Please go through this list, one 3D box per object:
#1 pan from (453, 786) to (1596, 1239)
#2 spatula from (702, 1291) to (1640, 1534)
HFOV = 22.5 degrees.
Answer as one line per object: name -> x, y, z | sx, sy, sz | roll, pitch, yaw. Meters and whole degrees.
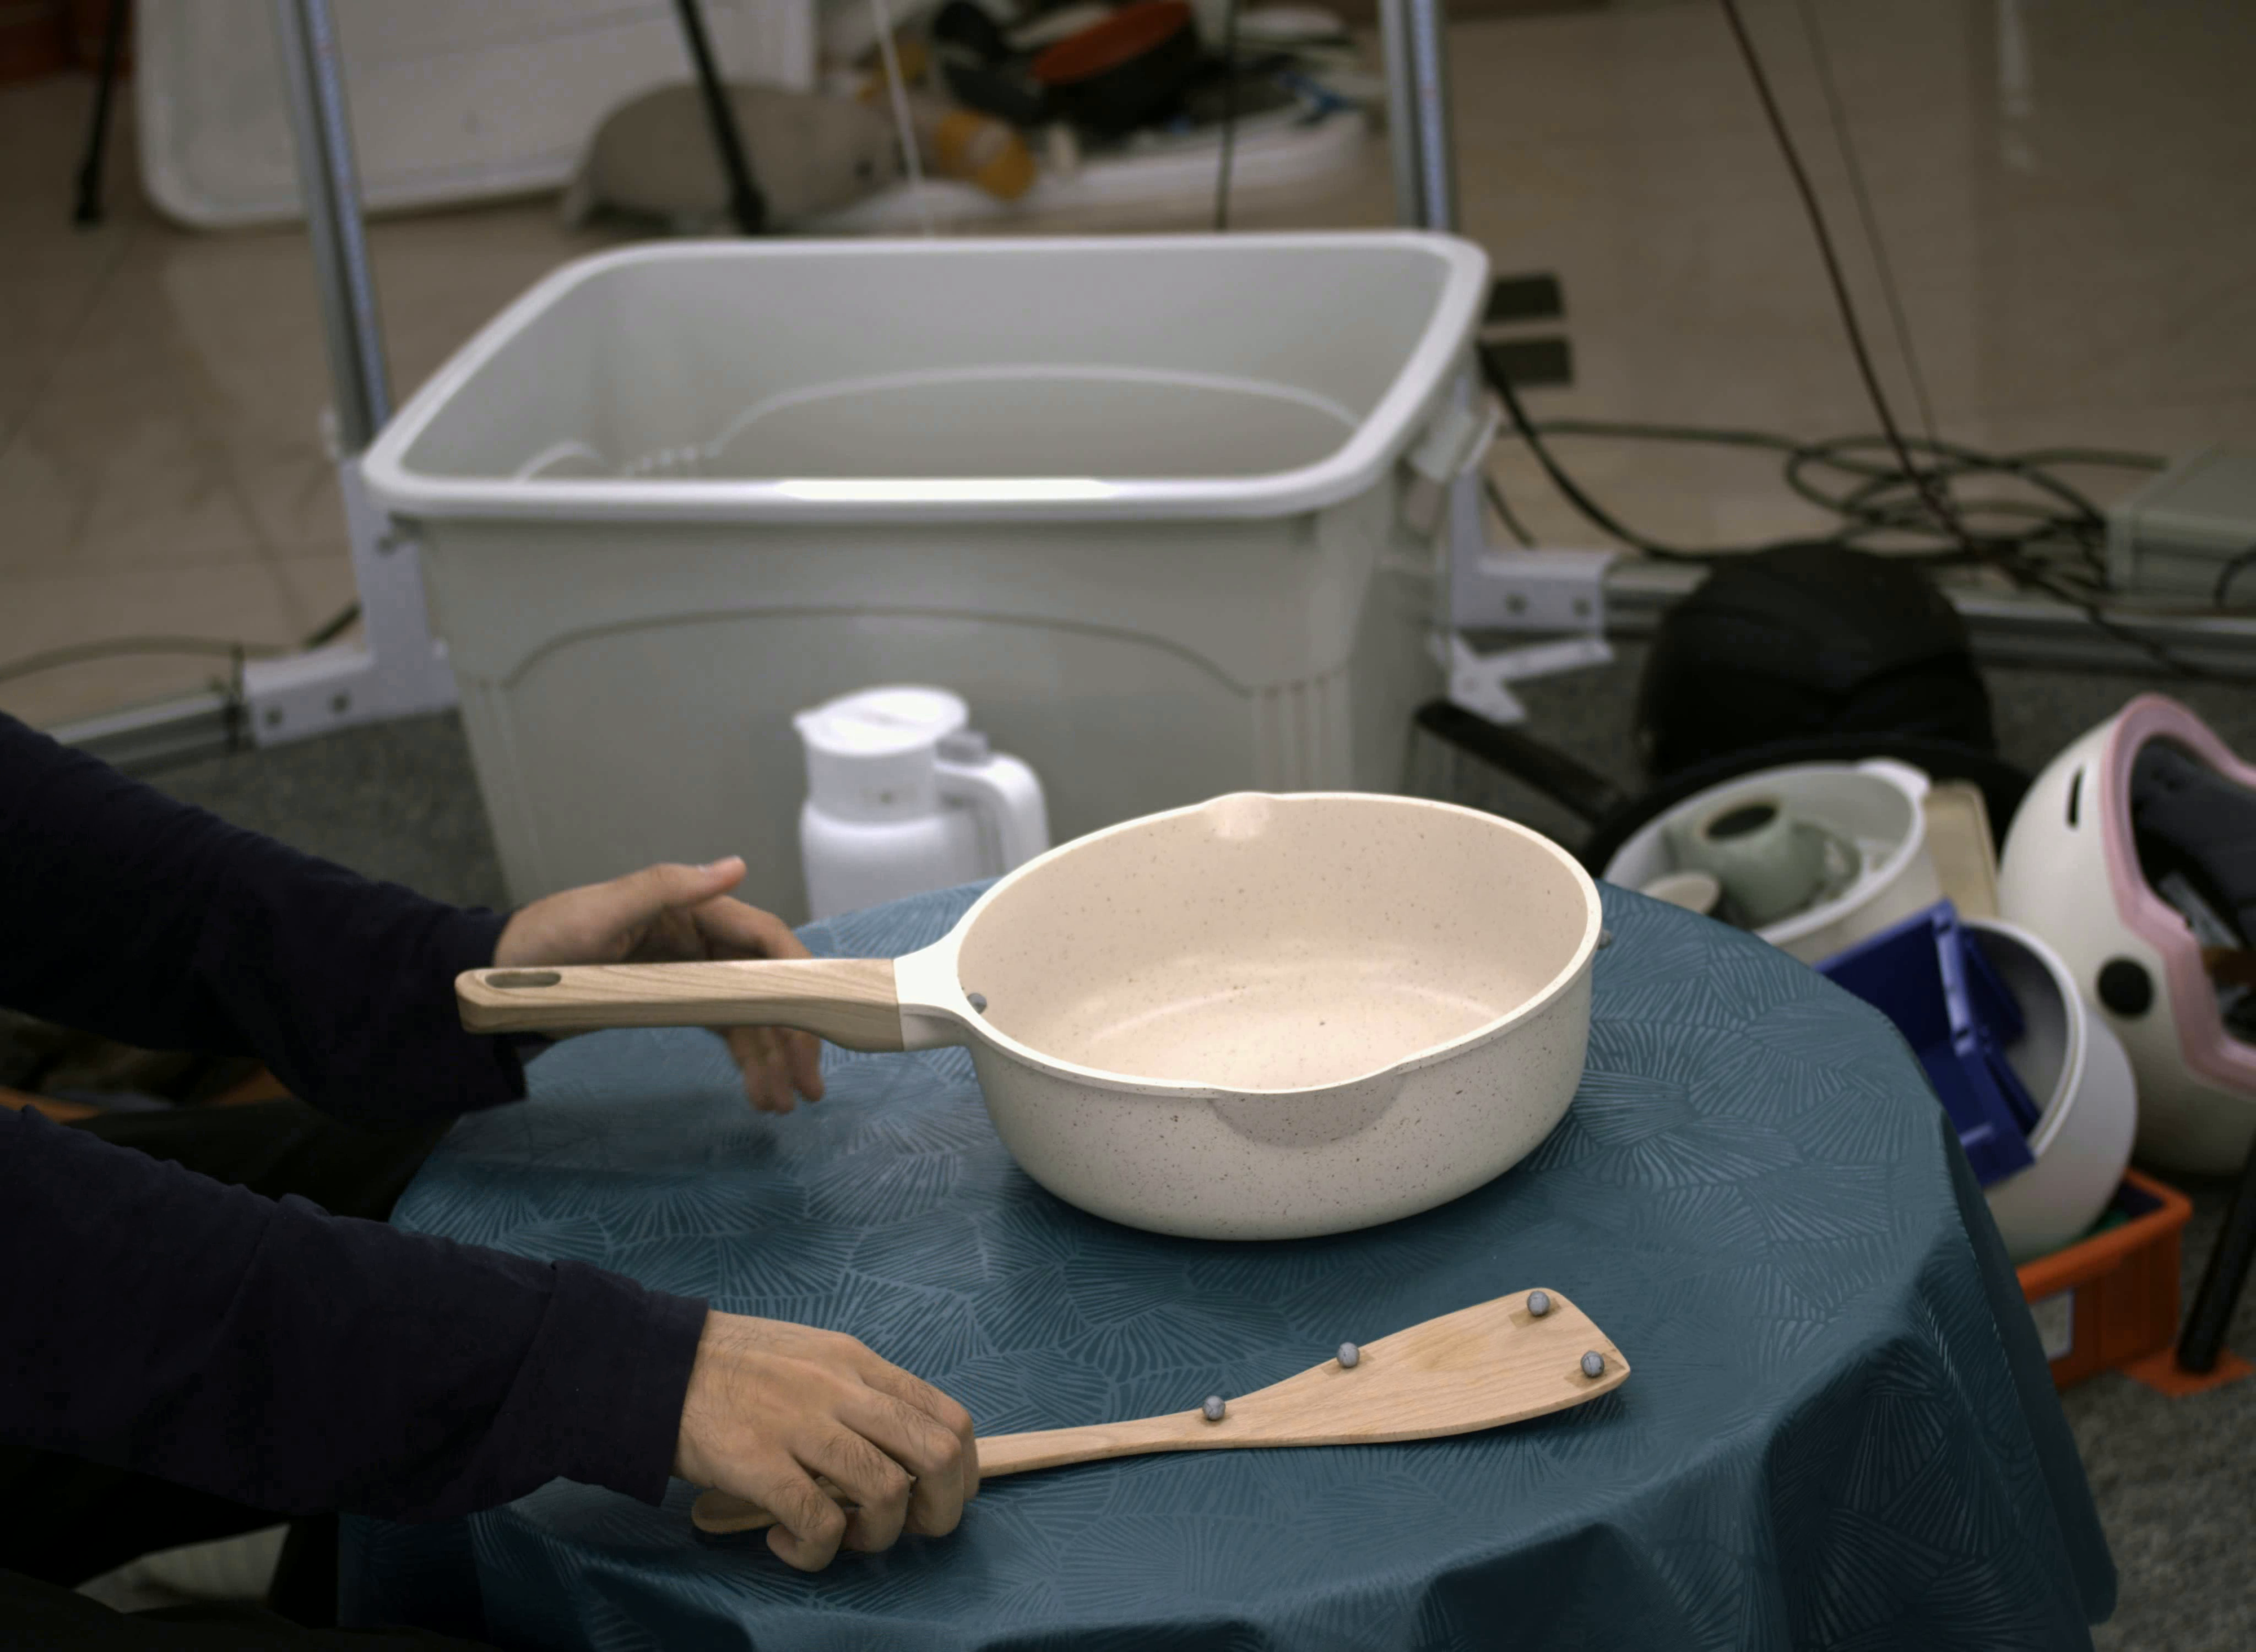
pan -> -0.035, 0.081, 2.166 | 0.434, 0.103, 0.259 | -8, 26, -3
spatula -> 0.013, 0.209, 1.983 | 0.327, 0.017, 0.079 | -9, 25, -5
